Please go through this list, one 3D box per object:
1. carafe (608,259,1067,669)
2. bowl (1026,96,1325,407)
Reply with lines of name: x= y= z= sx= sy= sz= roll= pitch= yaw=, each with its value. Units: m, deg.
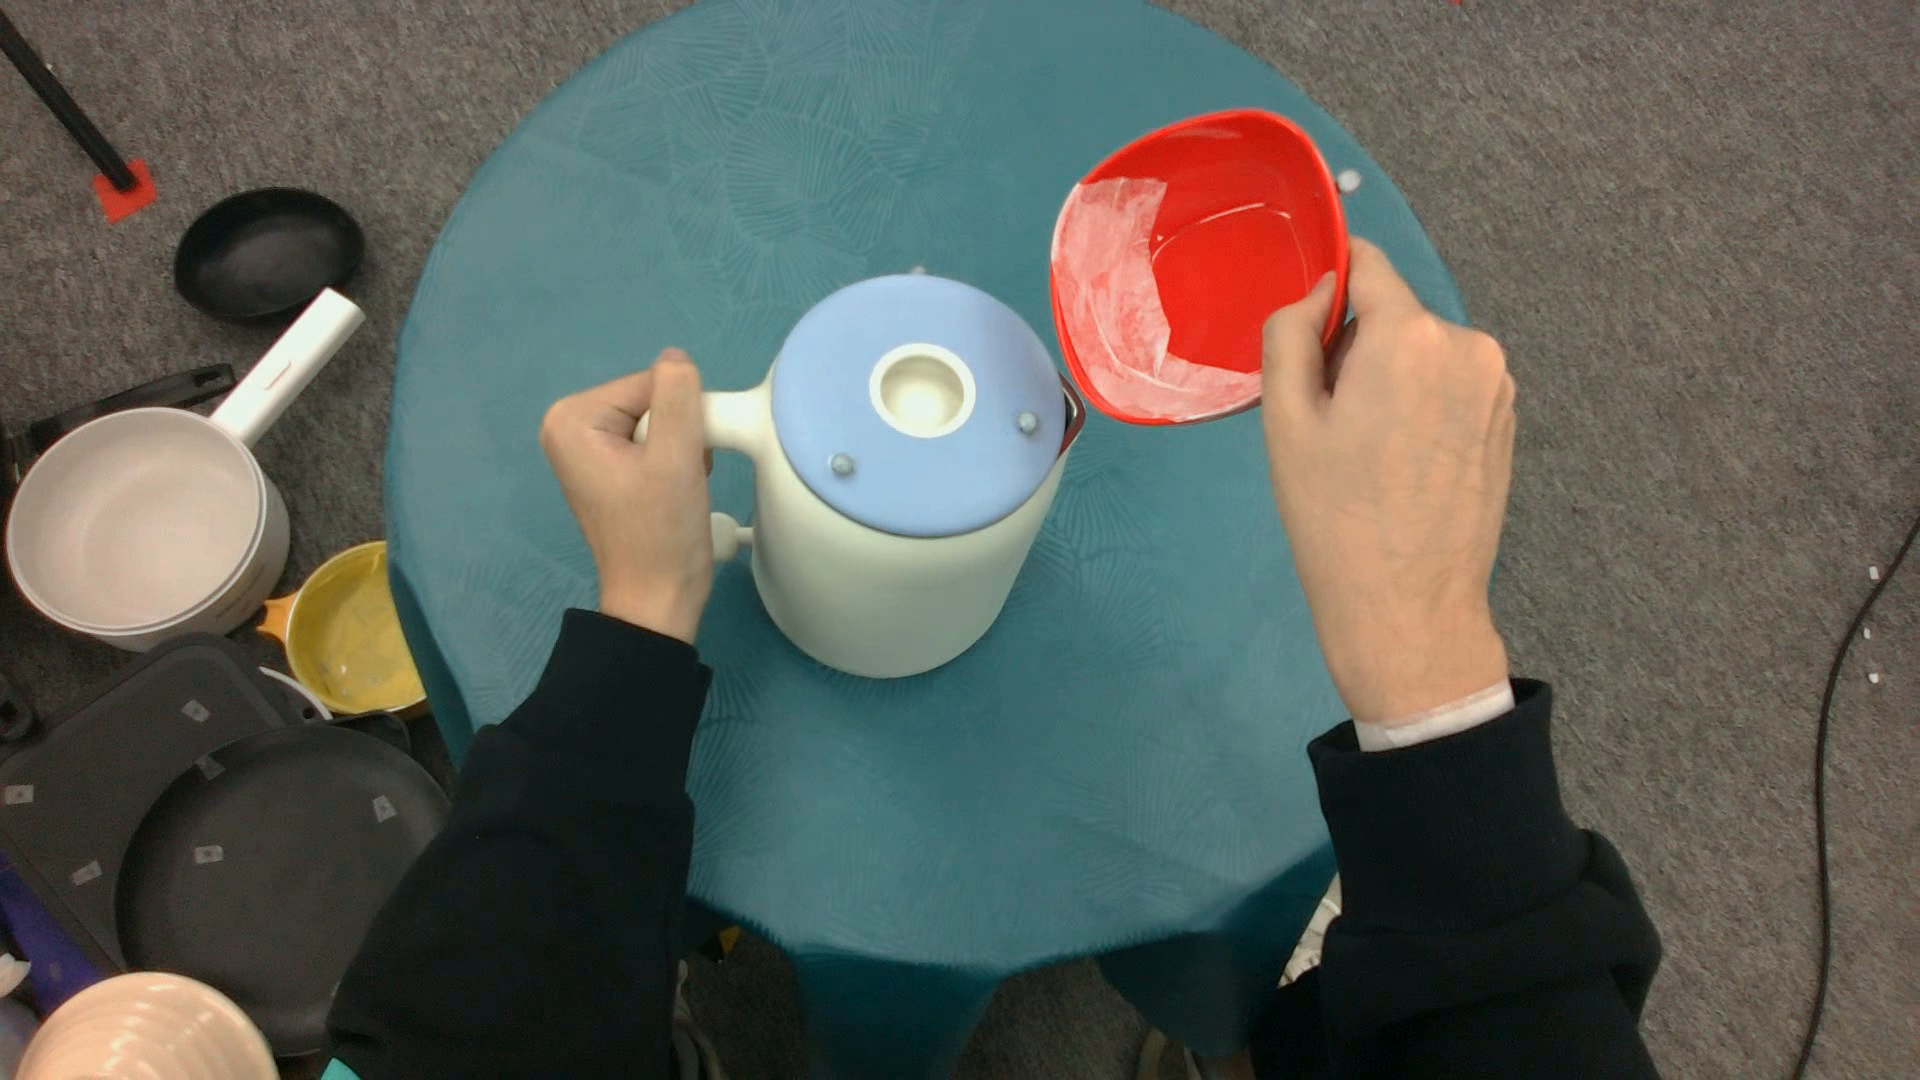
carafe: x=-0.060 y=-0.028 z=0.616 sx=0.191 sy=0.182 sz=0.132 roll=-1 pitch=65 yaw=-8
bowl: x=0.085 y=-0.100 z=0.513 sx=0.118 sy=0.051 sz=0.119 roll=-5 pitch=80 yaw=29
